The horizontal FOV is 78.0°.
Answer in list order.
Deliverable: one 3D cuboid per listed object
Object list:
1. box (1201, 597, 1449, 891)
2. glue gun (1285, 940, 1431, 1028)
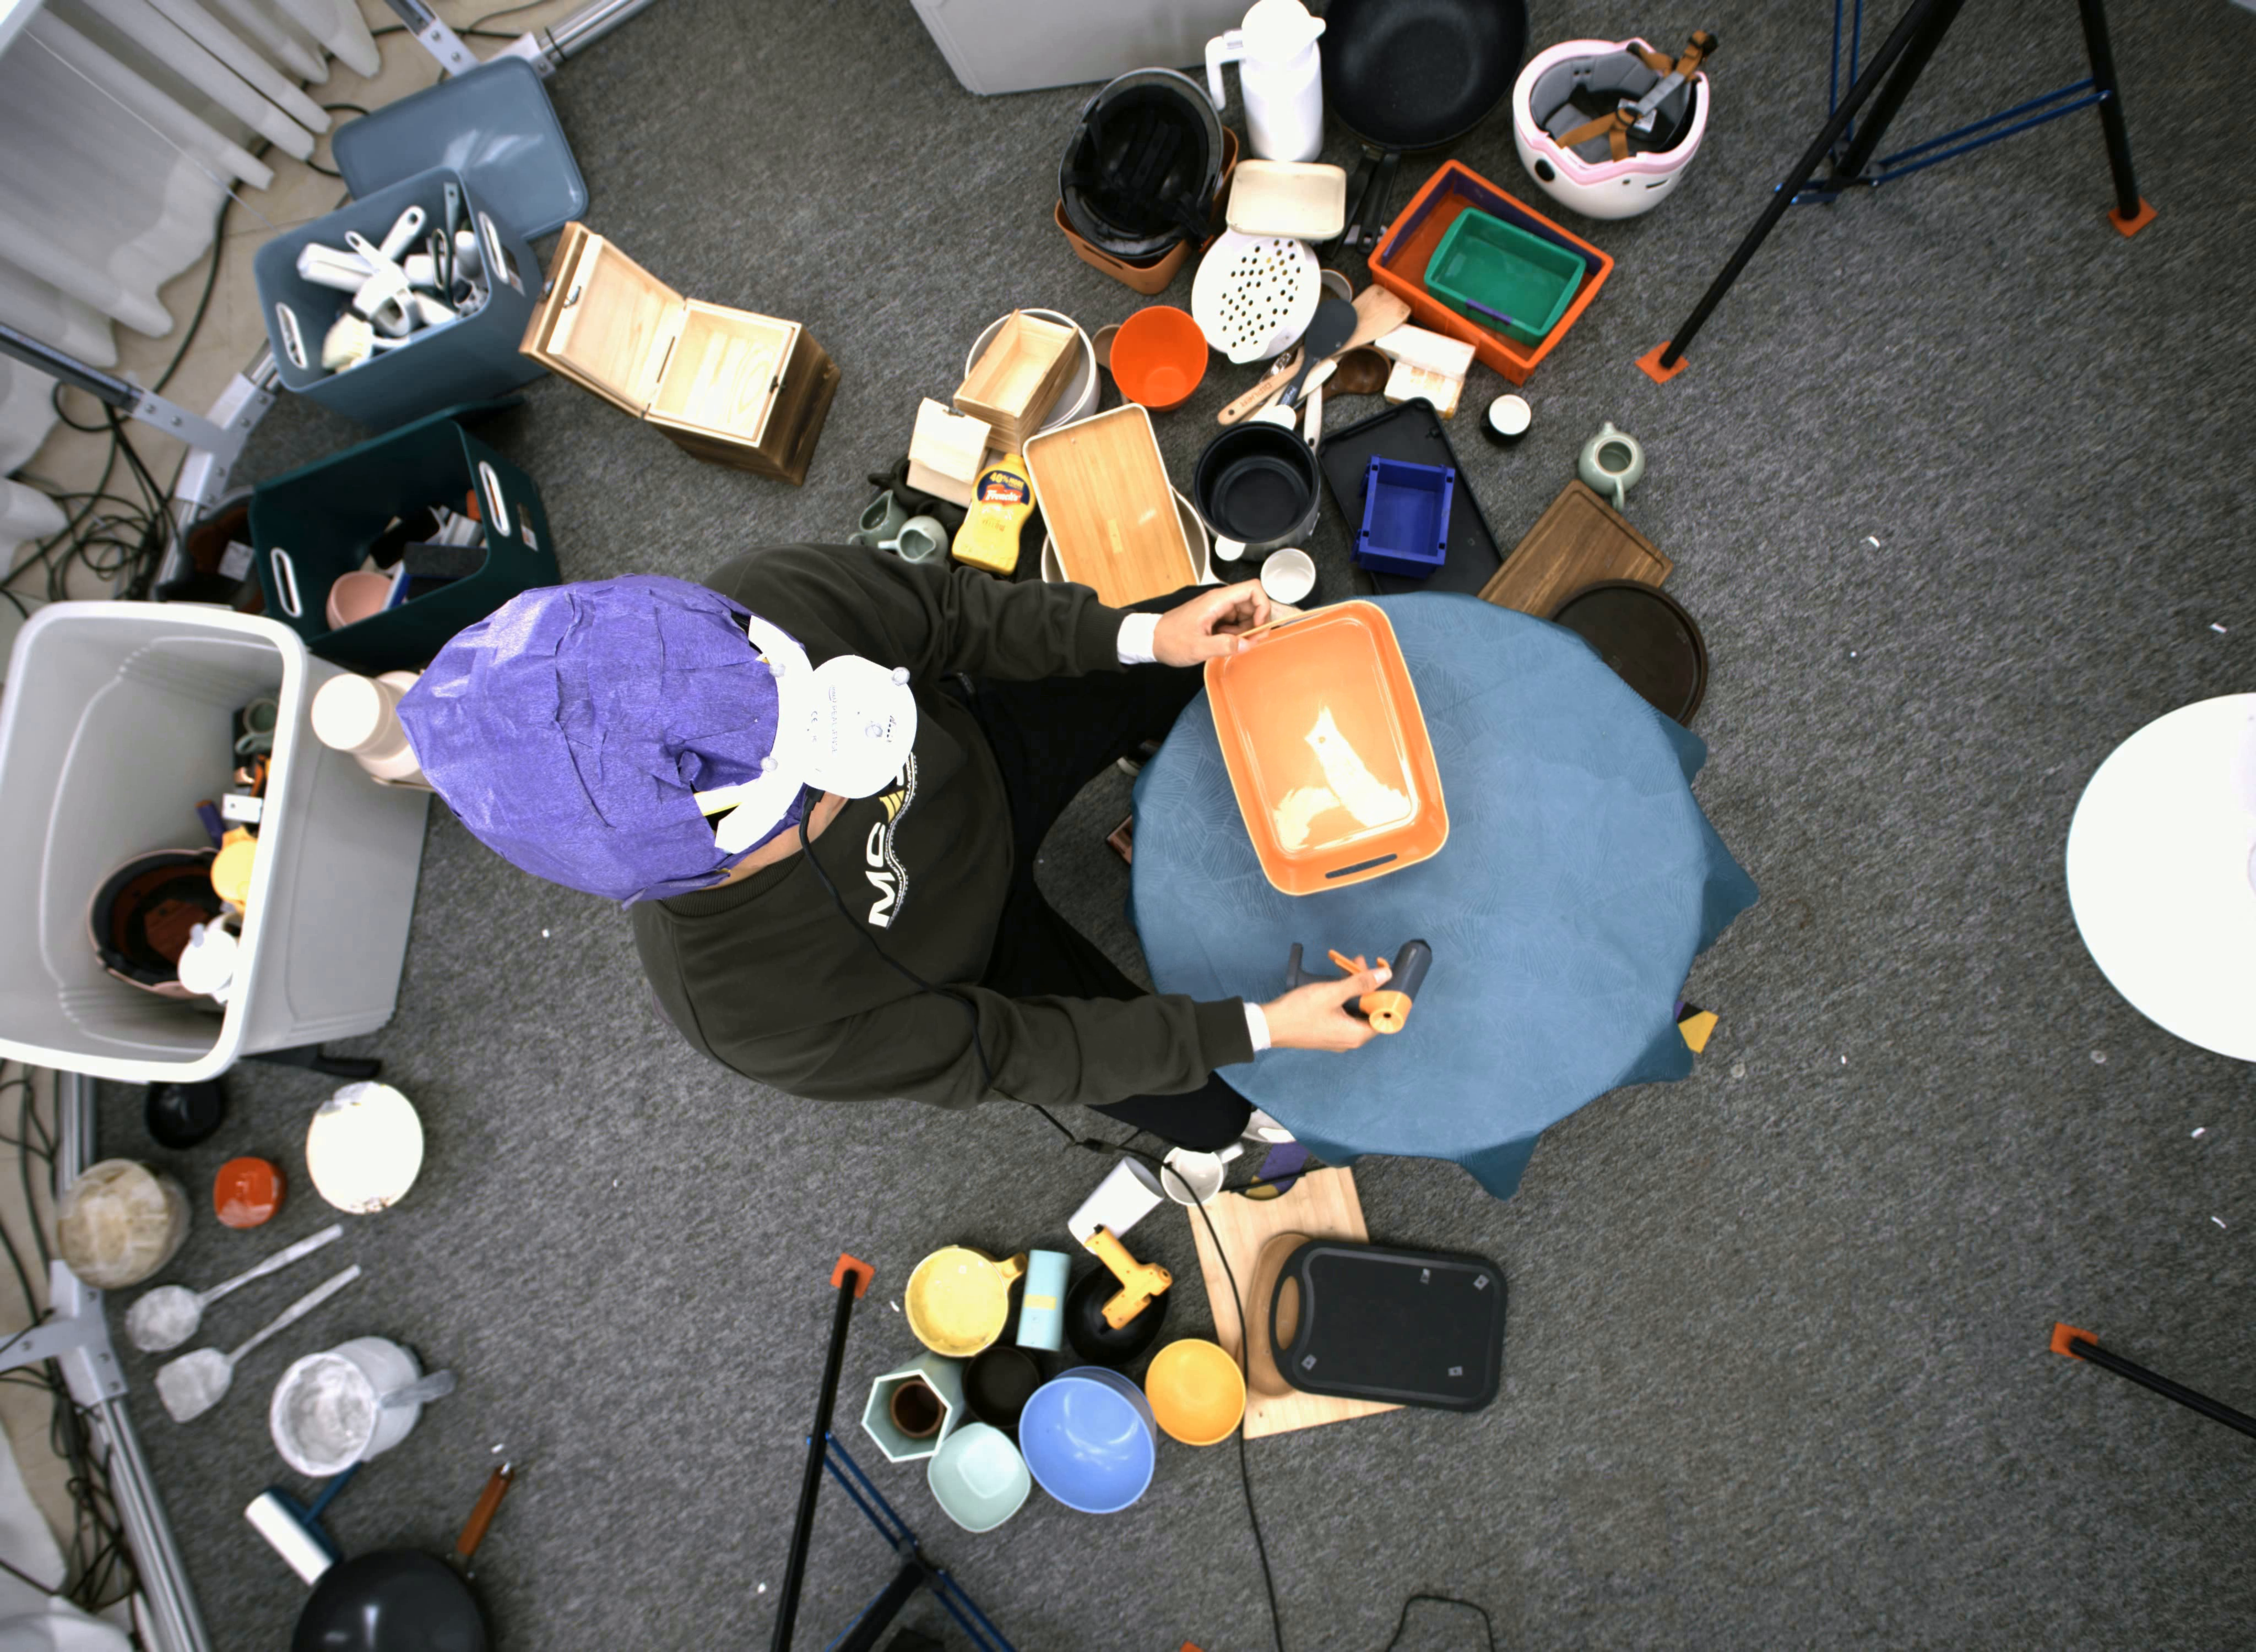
[{"bbox_3d":[0.198,-0.086,1.400,0.200,0.101,0.275,-17,101,9],"label":"box"},{"bbox_3d":[0.229,0.148,1.372,0.140,0.115,0.042,2,125,11],"label":"glue gun"}]
